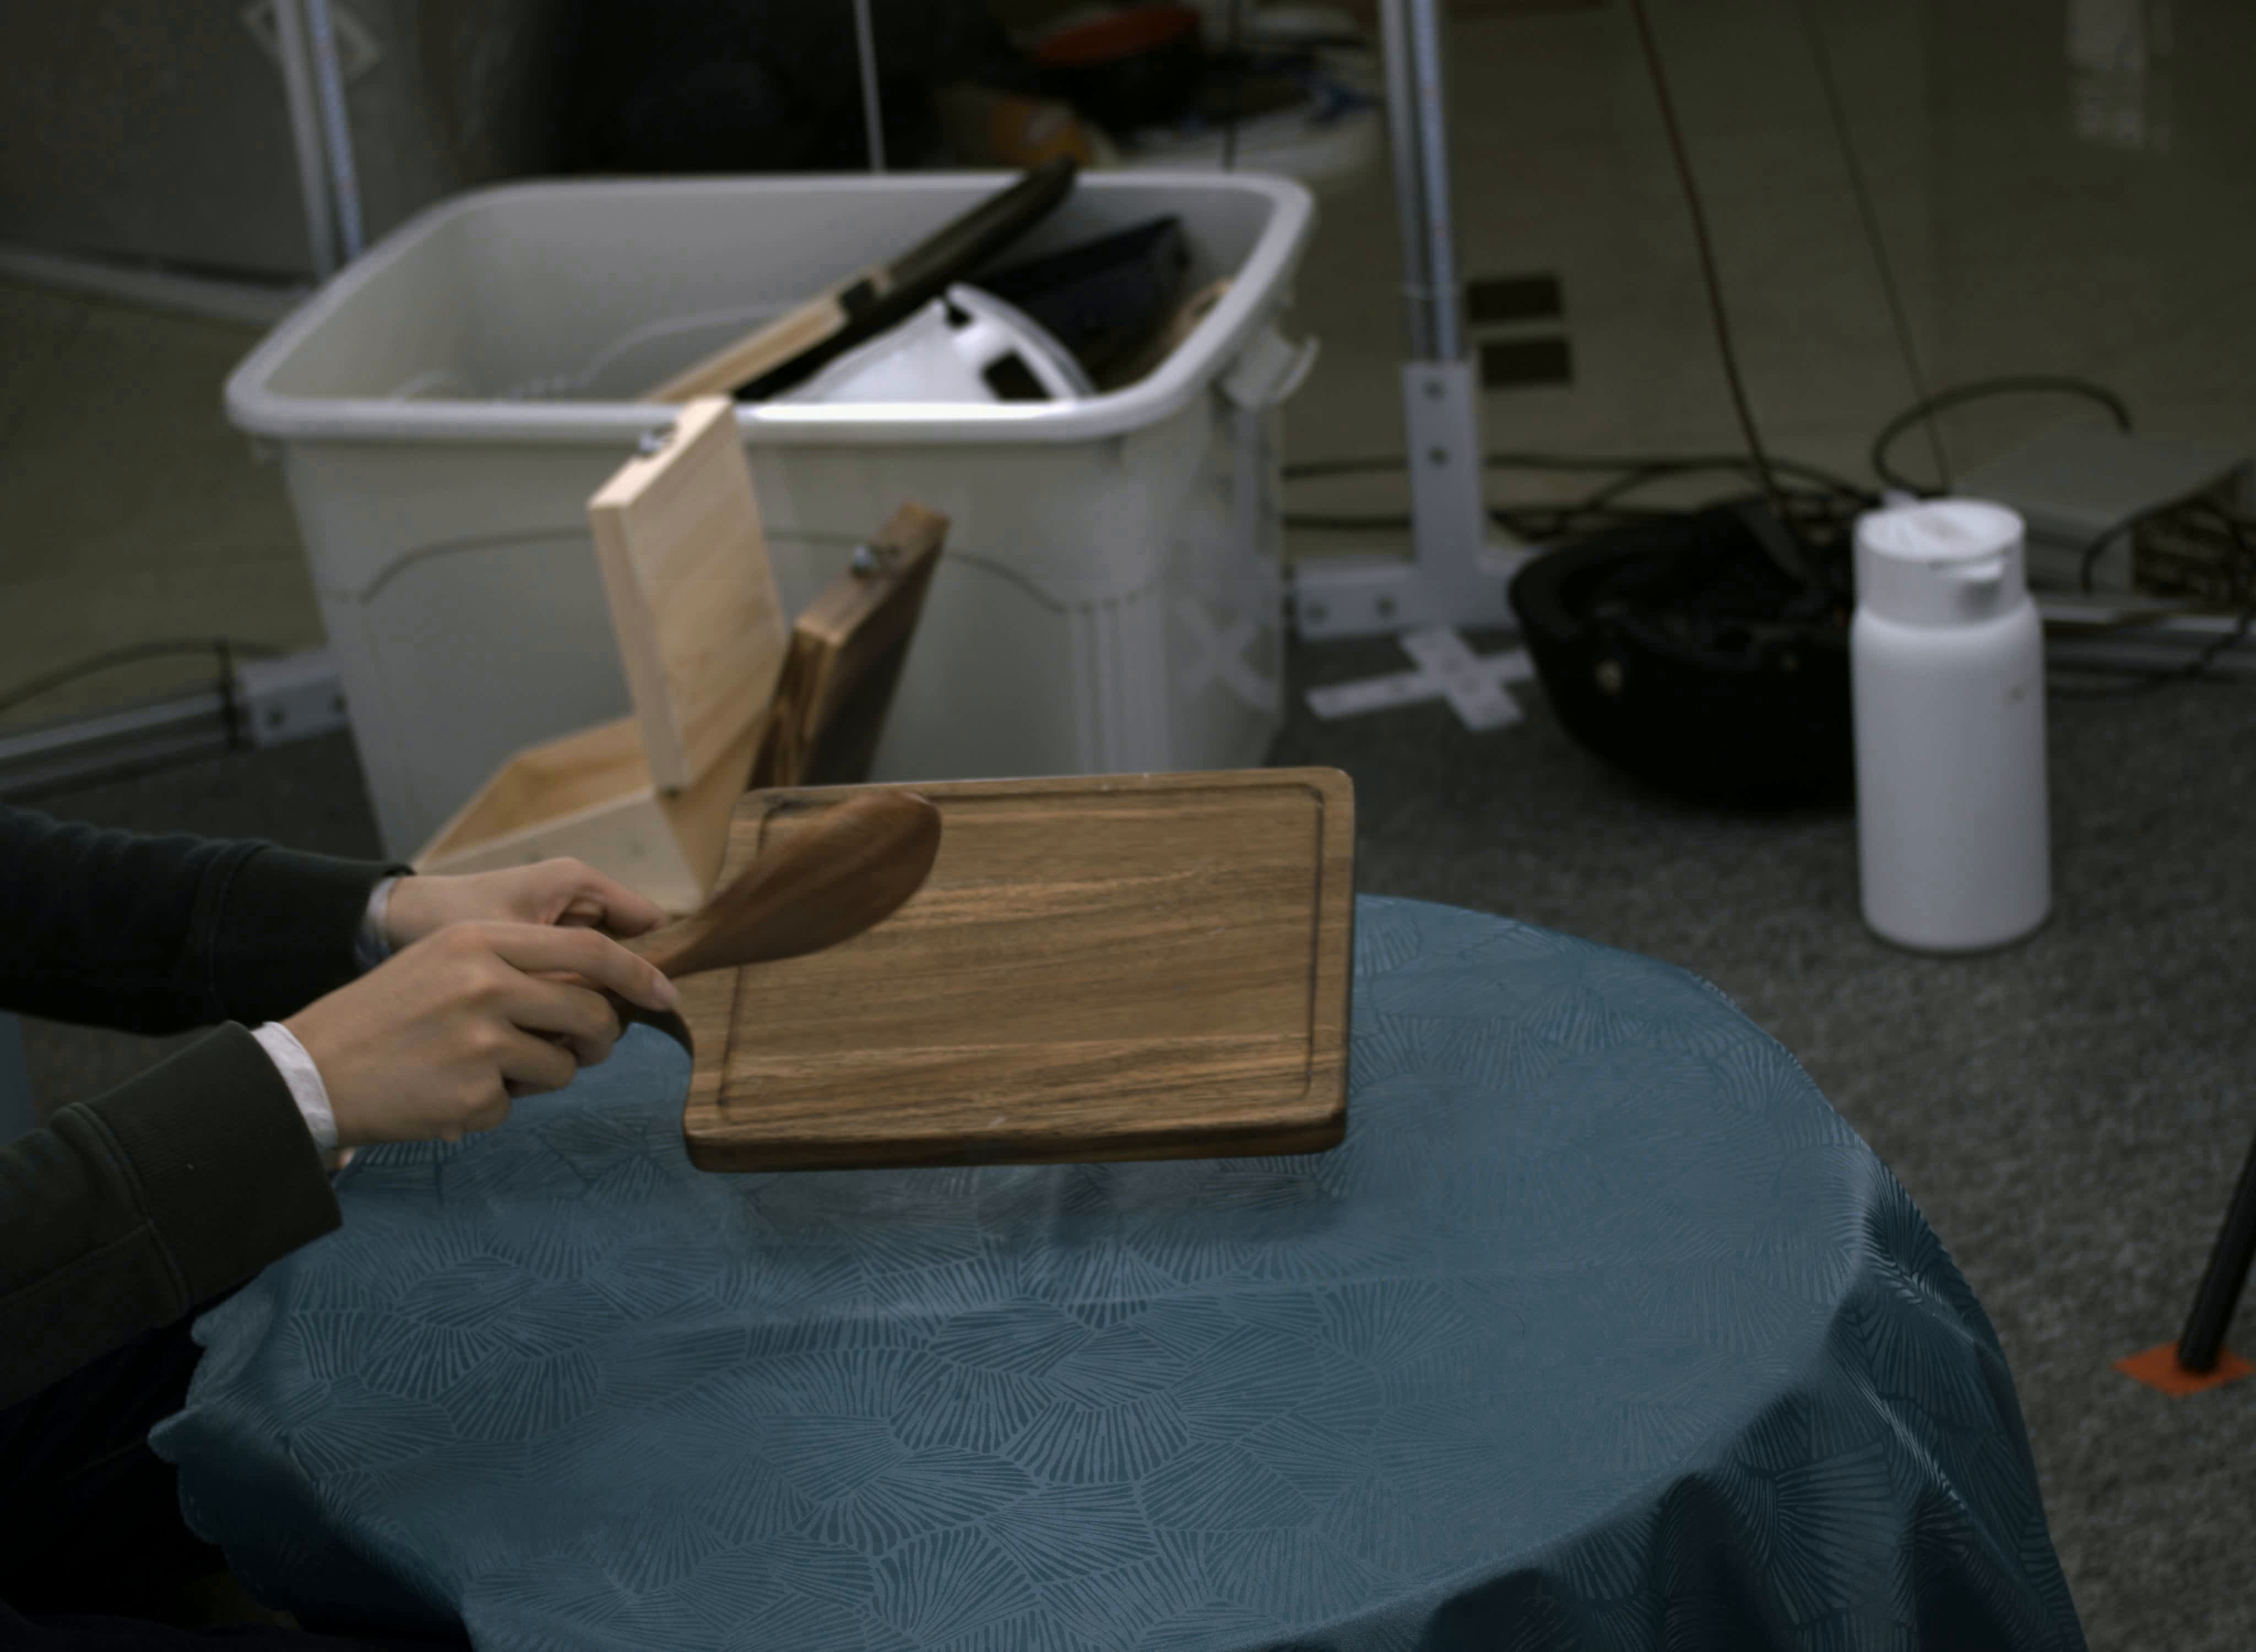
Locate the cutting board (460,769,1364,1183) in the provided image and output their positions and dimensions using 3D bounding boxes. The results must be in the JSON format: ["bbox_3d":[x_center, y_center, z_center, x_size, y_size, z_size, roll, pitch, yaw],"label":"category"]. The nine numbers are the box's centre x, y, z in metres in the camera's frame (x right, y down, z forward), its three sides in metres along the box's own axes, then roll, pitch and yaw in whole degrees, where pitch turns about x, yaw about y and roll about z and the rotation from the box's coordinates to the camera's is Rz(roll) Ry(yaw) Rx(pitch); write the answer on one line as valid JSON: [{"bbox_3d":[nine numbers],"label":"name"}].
[{"bbox_3d":[-0.084,0.057,2.189,0.351,0.023,0.197,-2,45,6],"label":"cutting board"}]

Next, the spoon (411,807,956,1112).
[{"bbox_3d":[-0.155,0.050,2.014,0.215,0.077,0.017,-25,63,-14],"label":"spoon"}]
